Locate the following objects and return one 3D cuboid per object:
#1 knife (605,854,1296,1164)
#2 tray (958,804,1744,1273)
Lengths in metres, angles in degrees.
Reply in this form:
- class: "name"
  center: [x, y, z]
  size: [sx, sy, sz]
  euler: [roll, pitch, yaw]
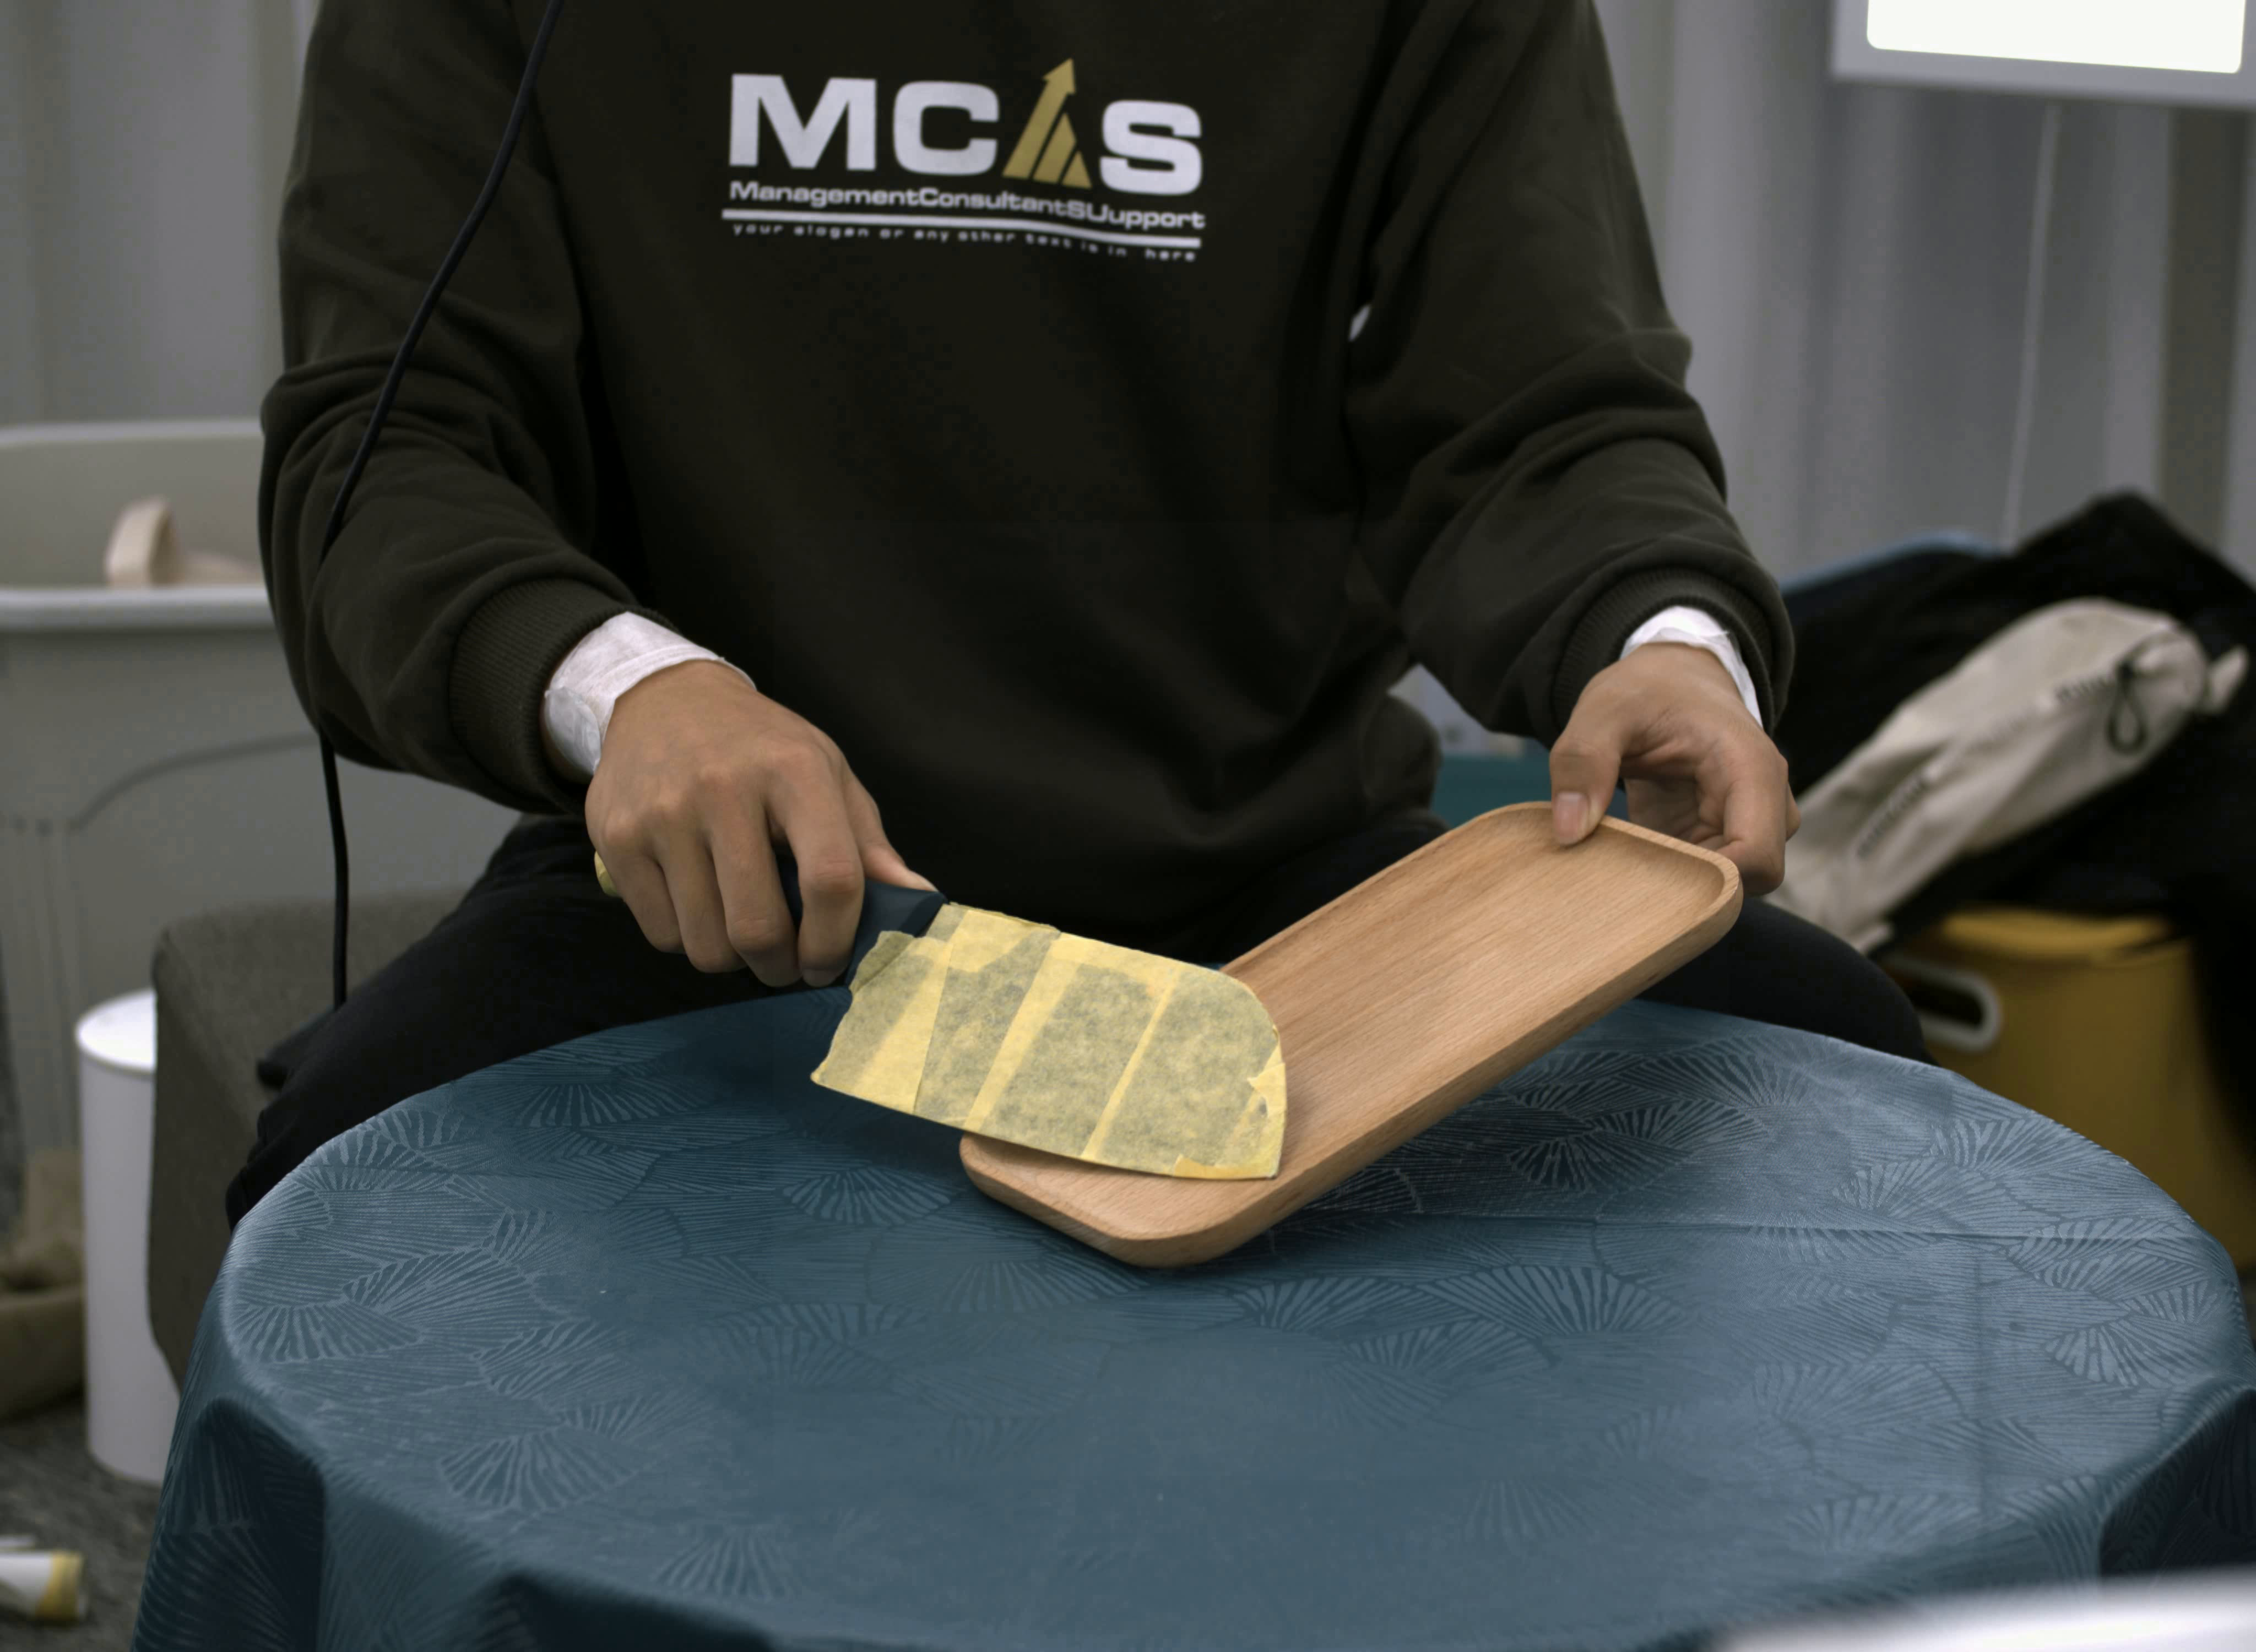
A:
- class: "knife"
  center: [-0.063, 0.056, 1.660]
  size: [0.285, 0.027, 0.081]
  euler: [15, 64, 36]
- class: "tray"
  center: [0.071, 0.063, 1.636]
  size: [0.251, 0.023, 0.129]
  euler: [-31, 27, -27]
